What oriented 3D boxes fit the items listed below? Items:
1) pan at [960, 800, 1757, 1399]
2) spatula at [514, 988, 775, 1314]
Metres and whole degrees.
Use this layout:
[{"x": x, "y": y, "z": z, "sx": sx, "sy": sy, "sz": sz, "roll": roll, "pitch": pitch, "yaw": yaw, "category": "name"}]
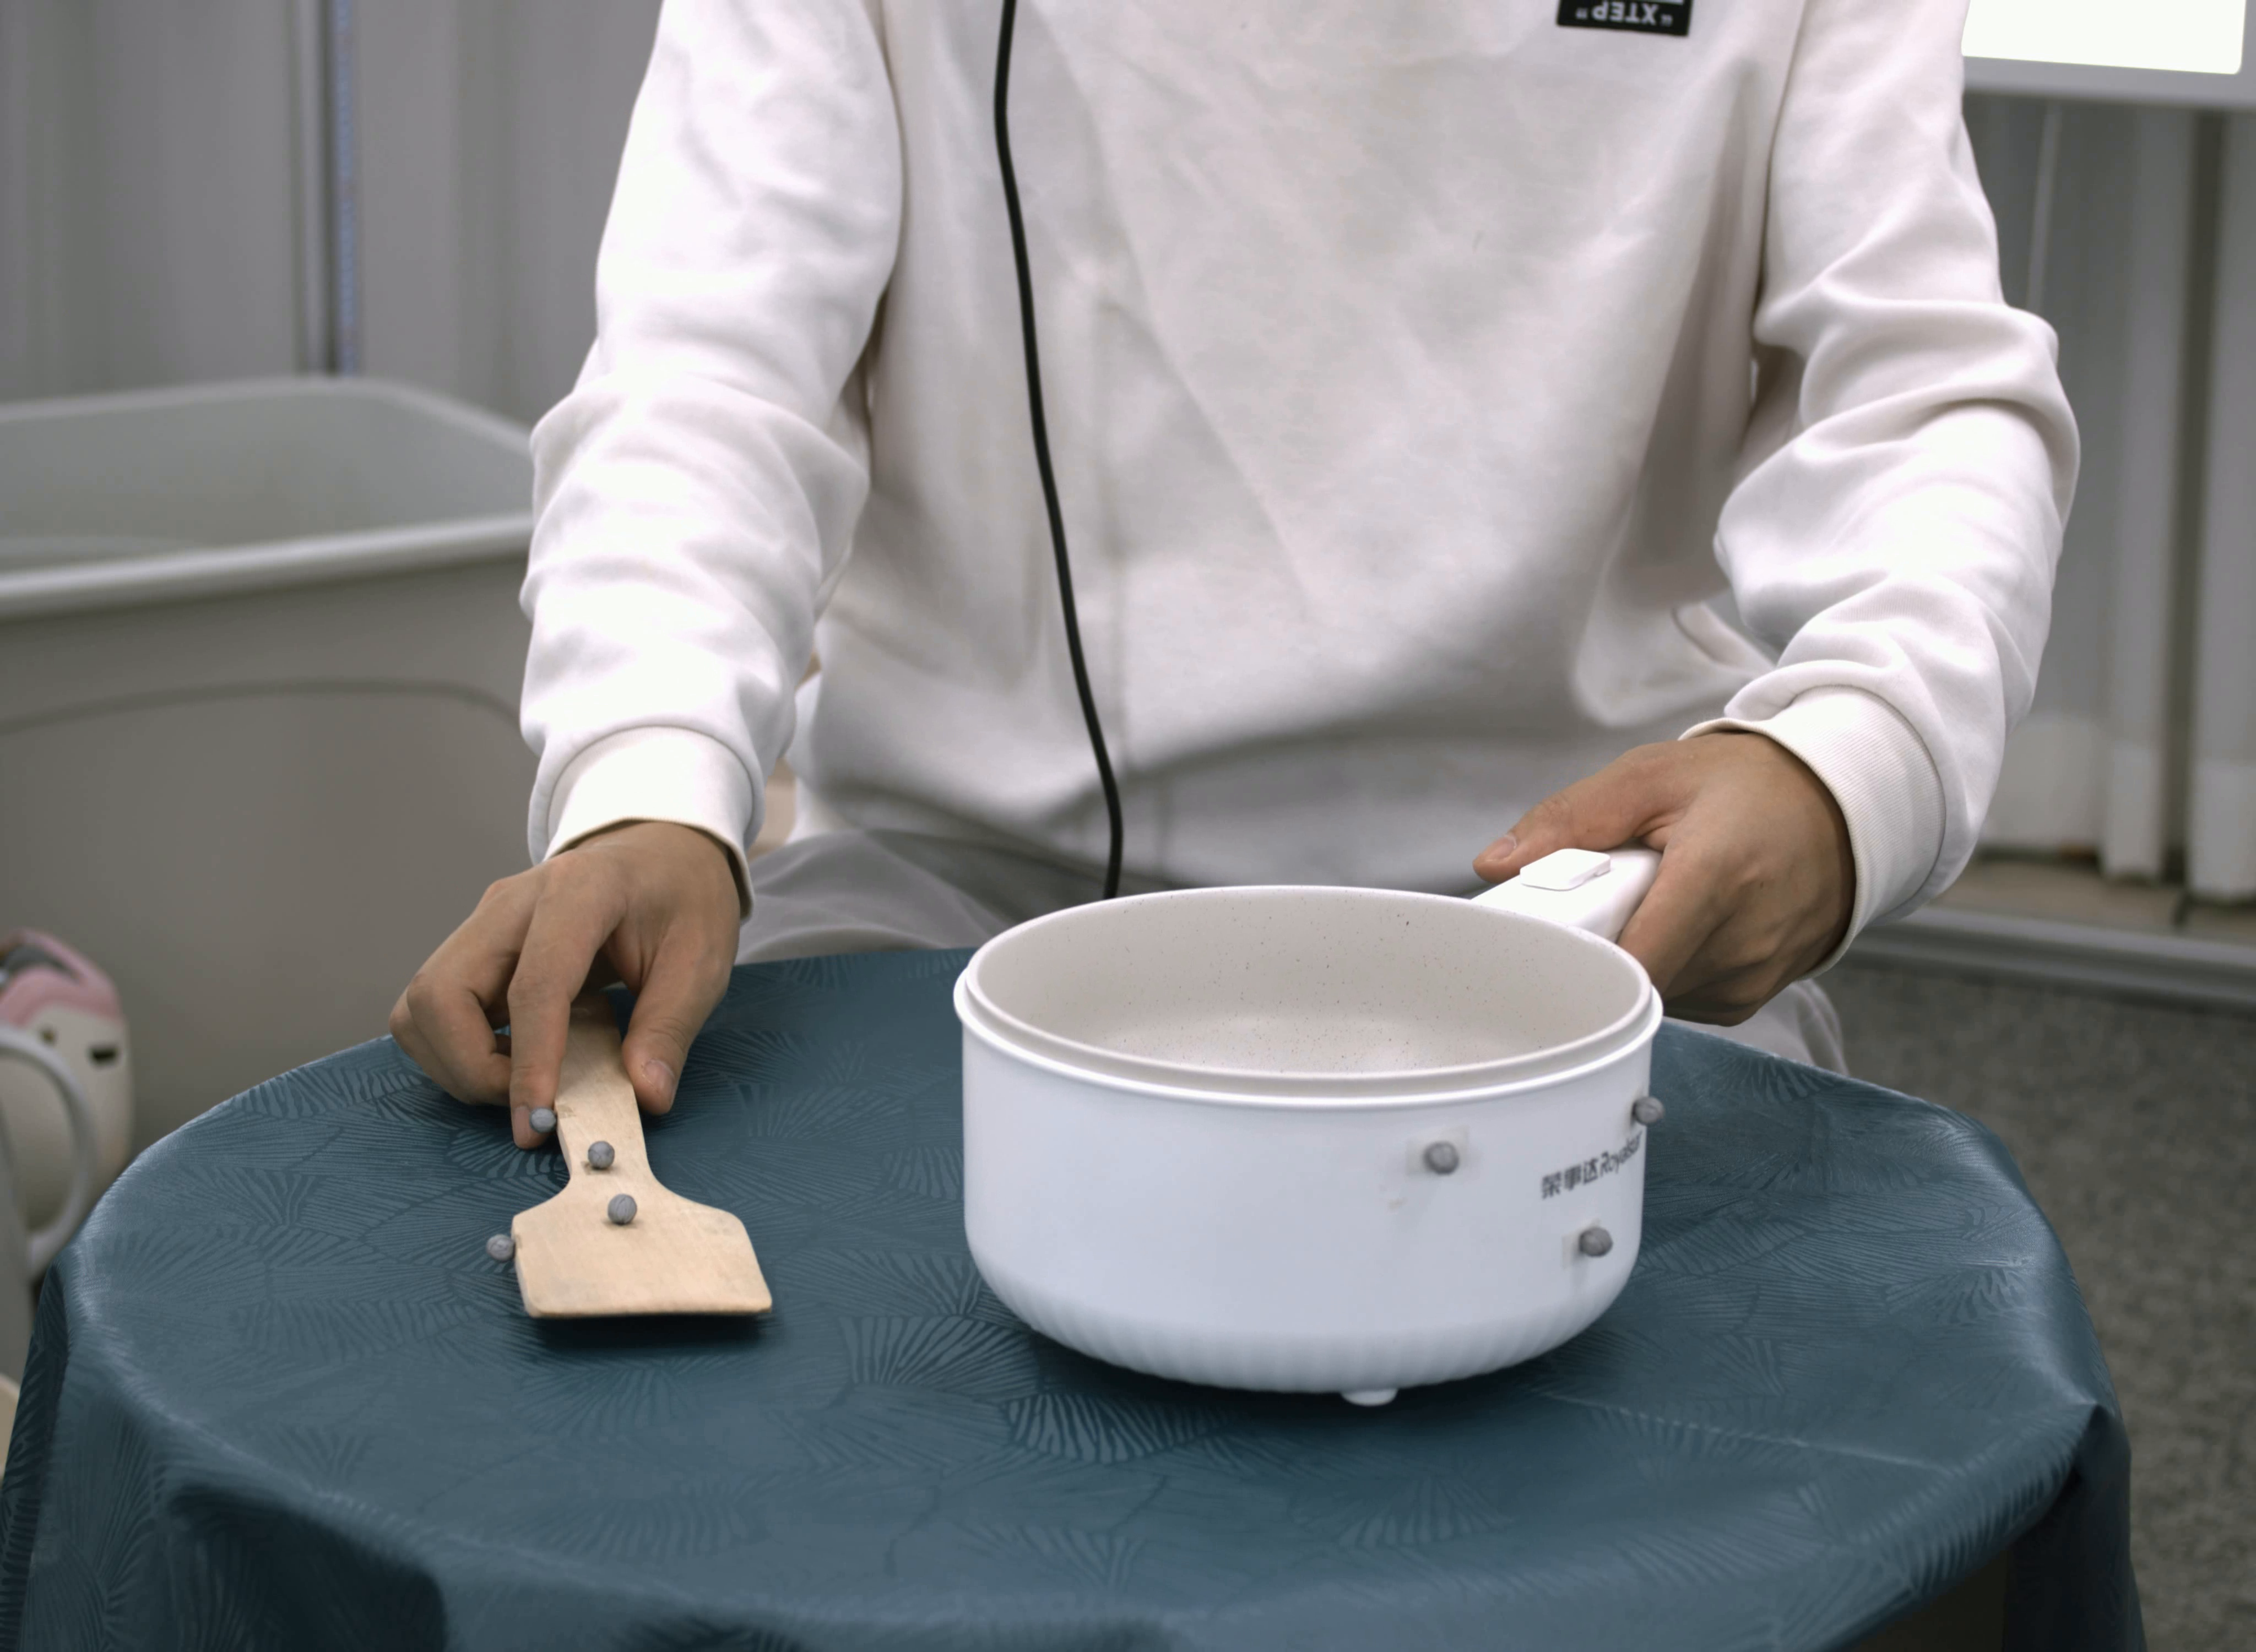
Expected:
[{"x": 0.091, "y": 0.074, "z": 1.569, "sx": 0.199, "sy": 0.103, "sz": 0.356, "roll": 10, "pitch": 17, "yaw": 30, "category": "pan"}, {"x": -0.162, "y": 0.098, "z": 1.629, "sx": 0.072, "sy": 0.011, "sz": 0.290, "roll": 0, "pitch": 17, "yaw": -11, "category": "spatula"}]
